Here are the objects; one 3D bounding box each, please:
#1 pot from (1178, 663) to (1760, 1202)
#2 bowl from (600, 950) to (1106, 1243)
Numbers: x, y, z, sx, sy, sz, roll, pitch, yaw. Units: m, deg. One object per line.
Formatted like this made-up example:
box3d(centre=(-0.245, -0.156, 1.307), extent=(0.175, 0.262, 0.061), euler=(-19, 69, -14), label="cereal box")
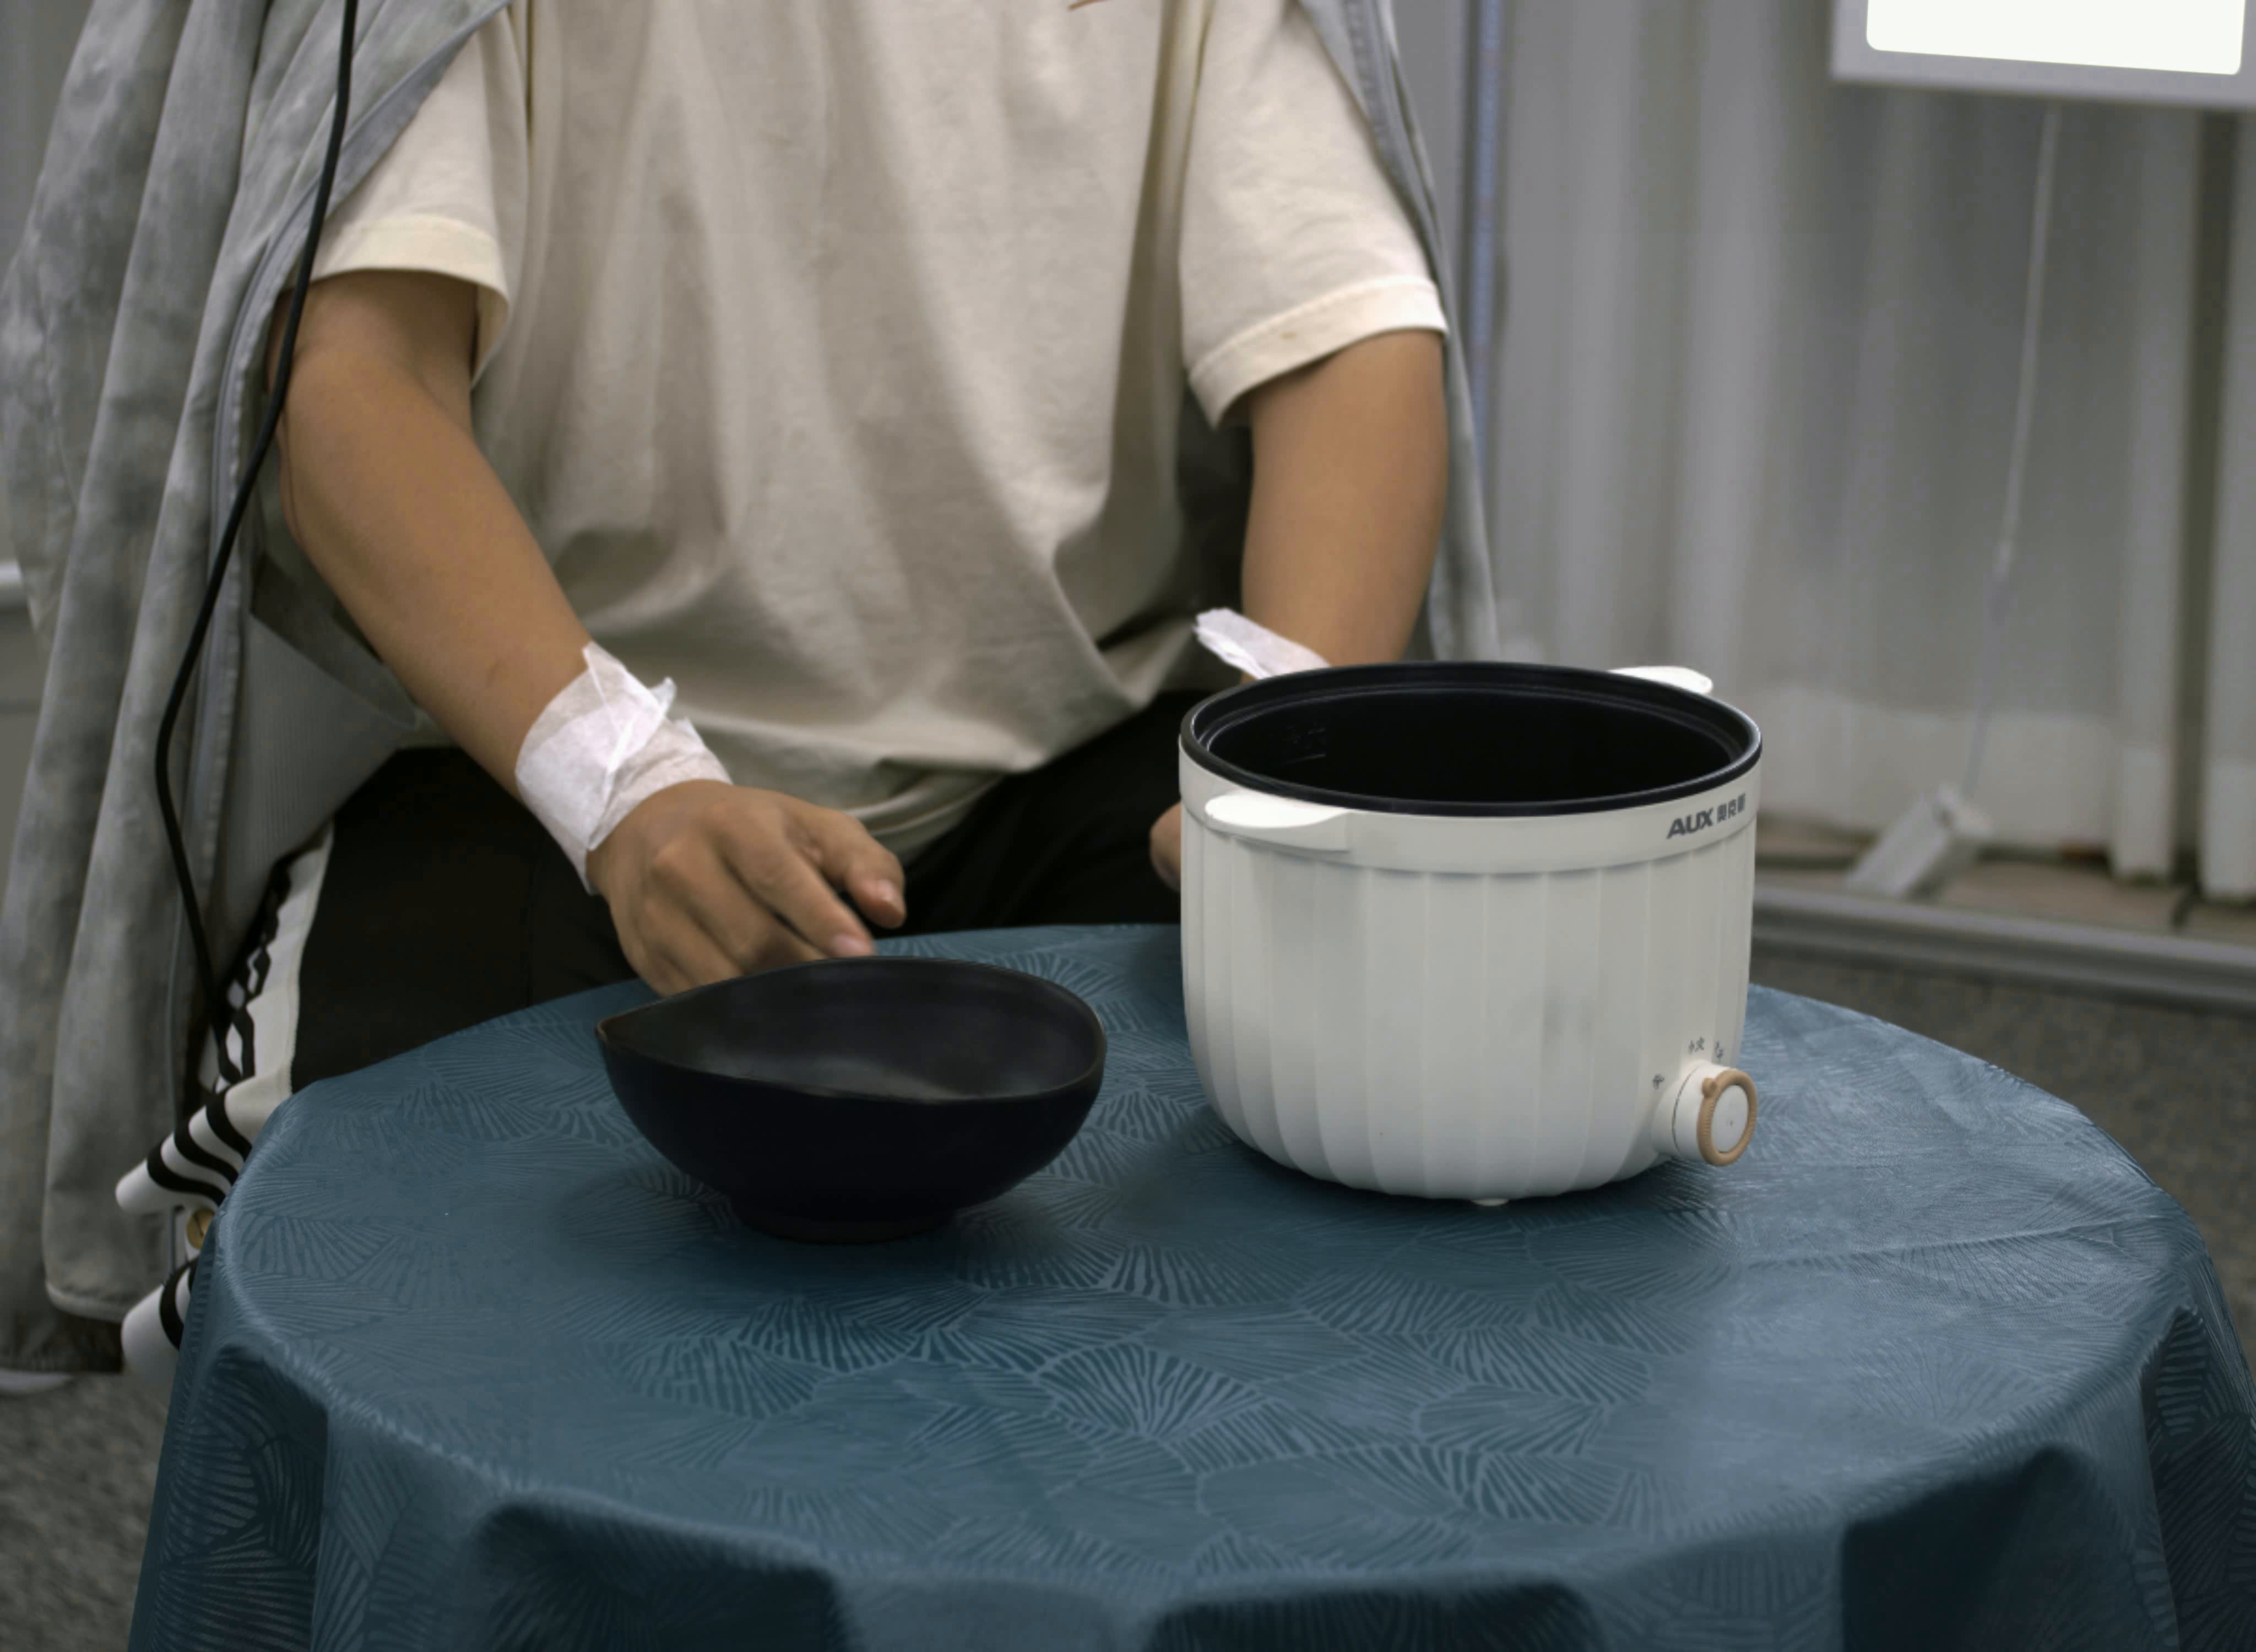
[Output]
box3d(centre=(0.111, 0.034, 1.652), extent=(0.188, 0.144, 0.241), euler=(9, 18, 37), label="pot")
box3d(centre=(-0.085, 0.086, 1.594), extent=(0.168, 0.067, 0.138), euler=(10, 19, 35), label="bowl")
